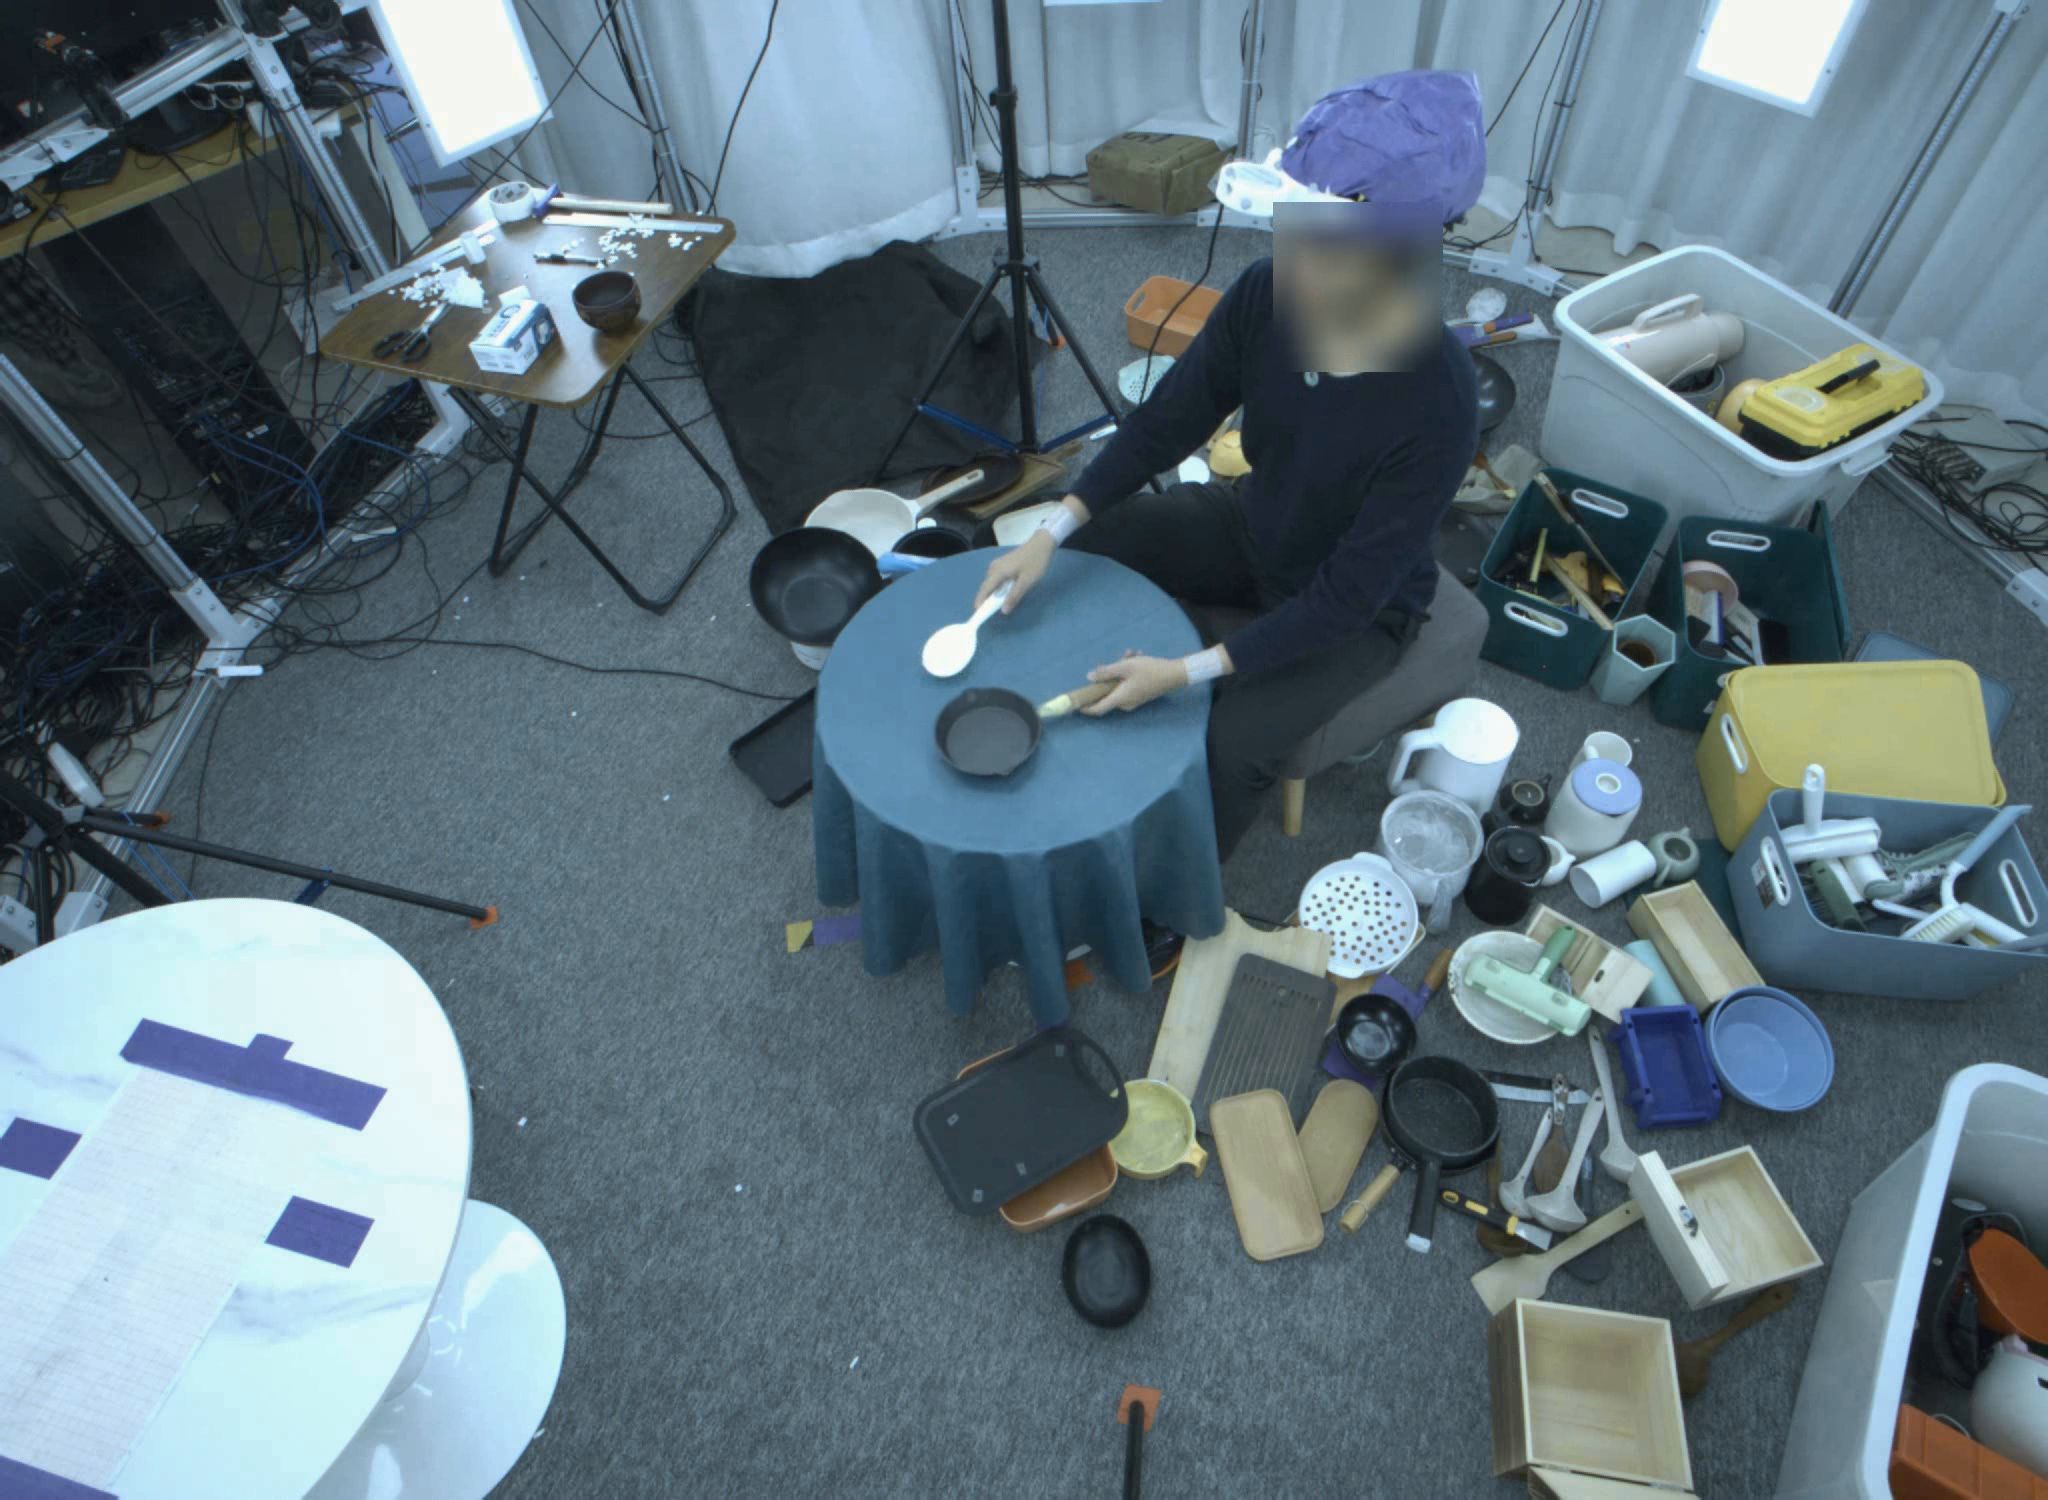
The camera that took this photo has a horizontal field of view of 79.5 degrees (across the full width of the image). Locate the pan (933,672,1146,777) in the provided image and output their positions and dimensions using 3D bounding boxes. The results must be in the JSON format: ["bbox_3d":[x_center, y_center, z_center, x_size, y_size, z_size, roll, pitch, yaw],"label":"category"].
[{"bbox_3d":[0.027,-0.051,1.792,0.326,0.050,0.166,-18,56,-9],"label":"pan"}]

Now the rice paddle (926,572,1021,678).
[{"bbox_3d":[-0.077,-0.191,1.880,0.068,0.029,0.206,36,71,6],"label":"rice paddle"}]
